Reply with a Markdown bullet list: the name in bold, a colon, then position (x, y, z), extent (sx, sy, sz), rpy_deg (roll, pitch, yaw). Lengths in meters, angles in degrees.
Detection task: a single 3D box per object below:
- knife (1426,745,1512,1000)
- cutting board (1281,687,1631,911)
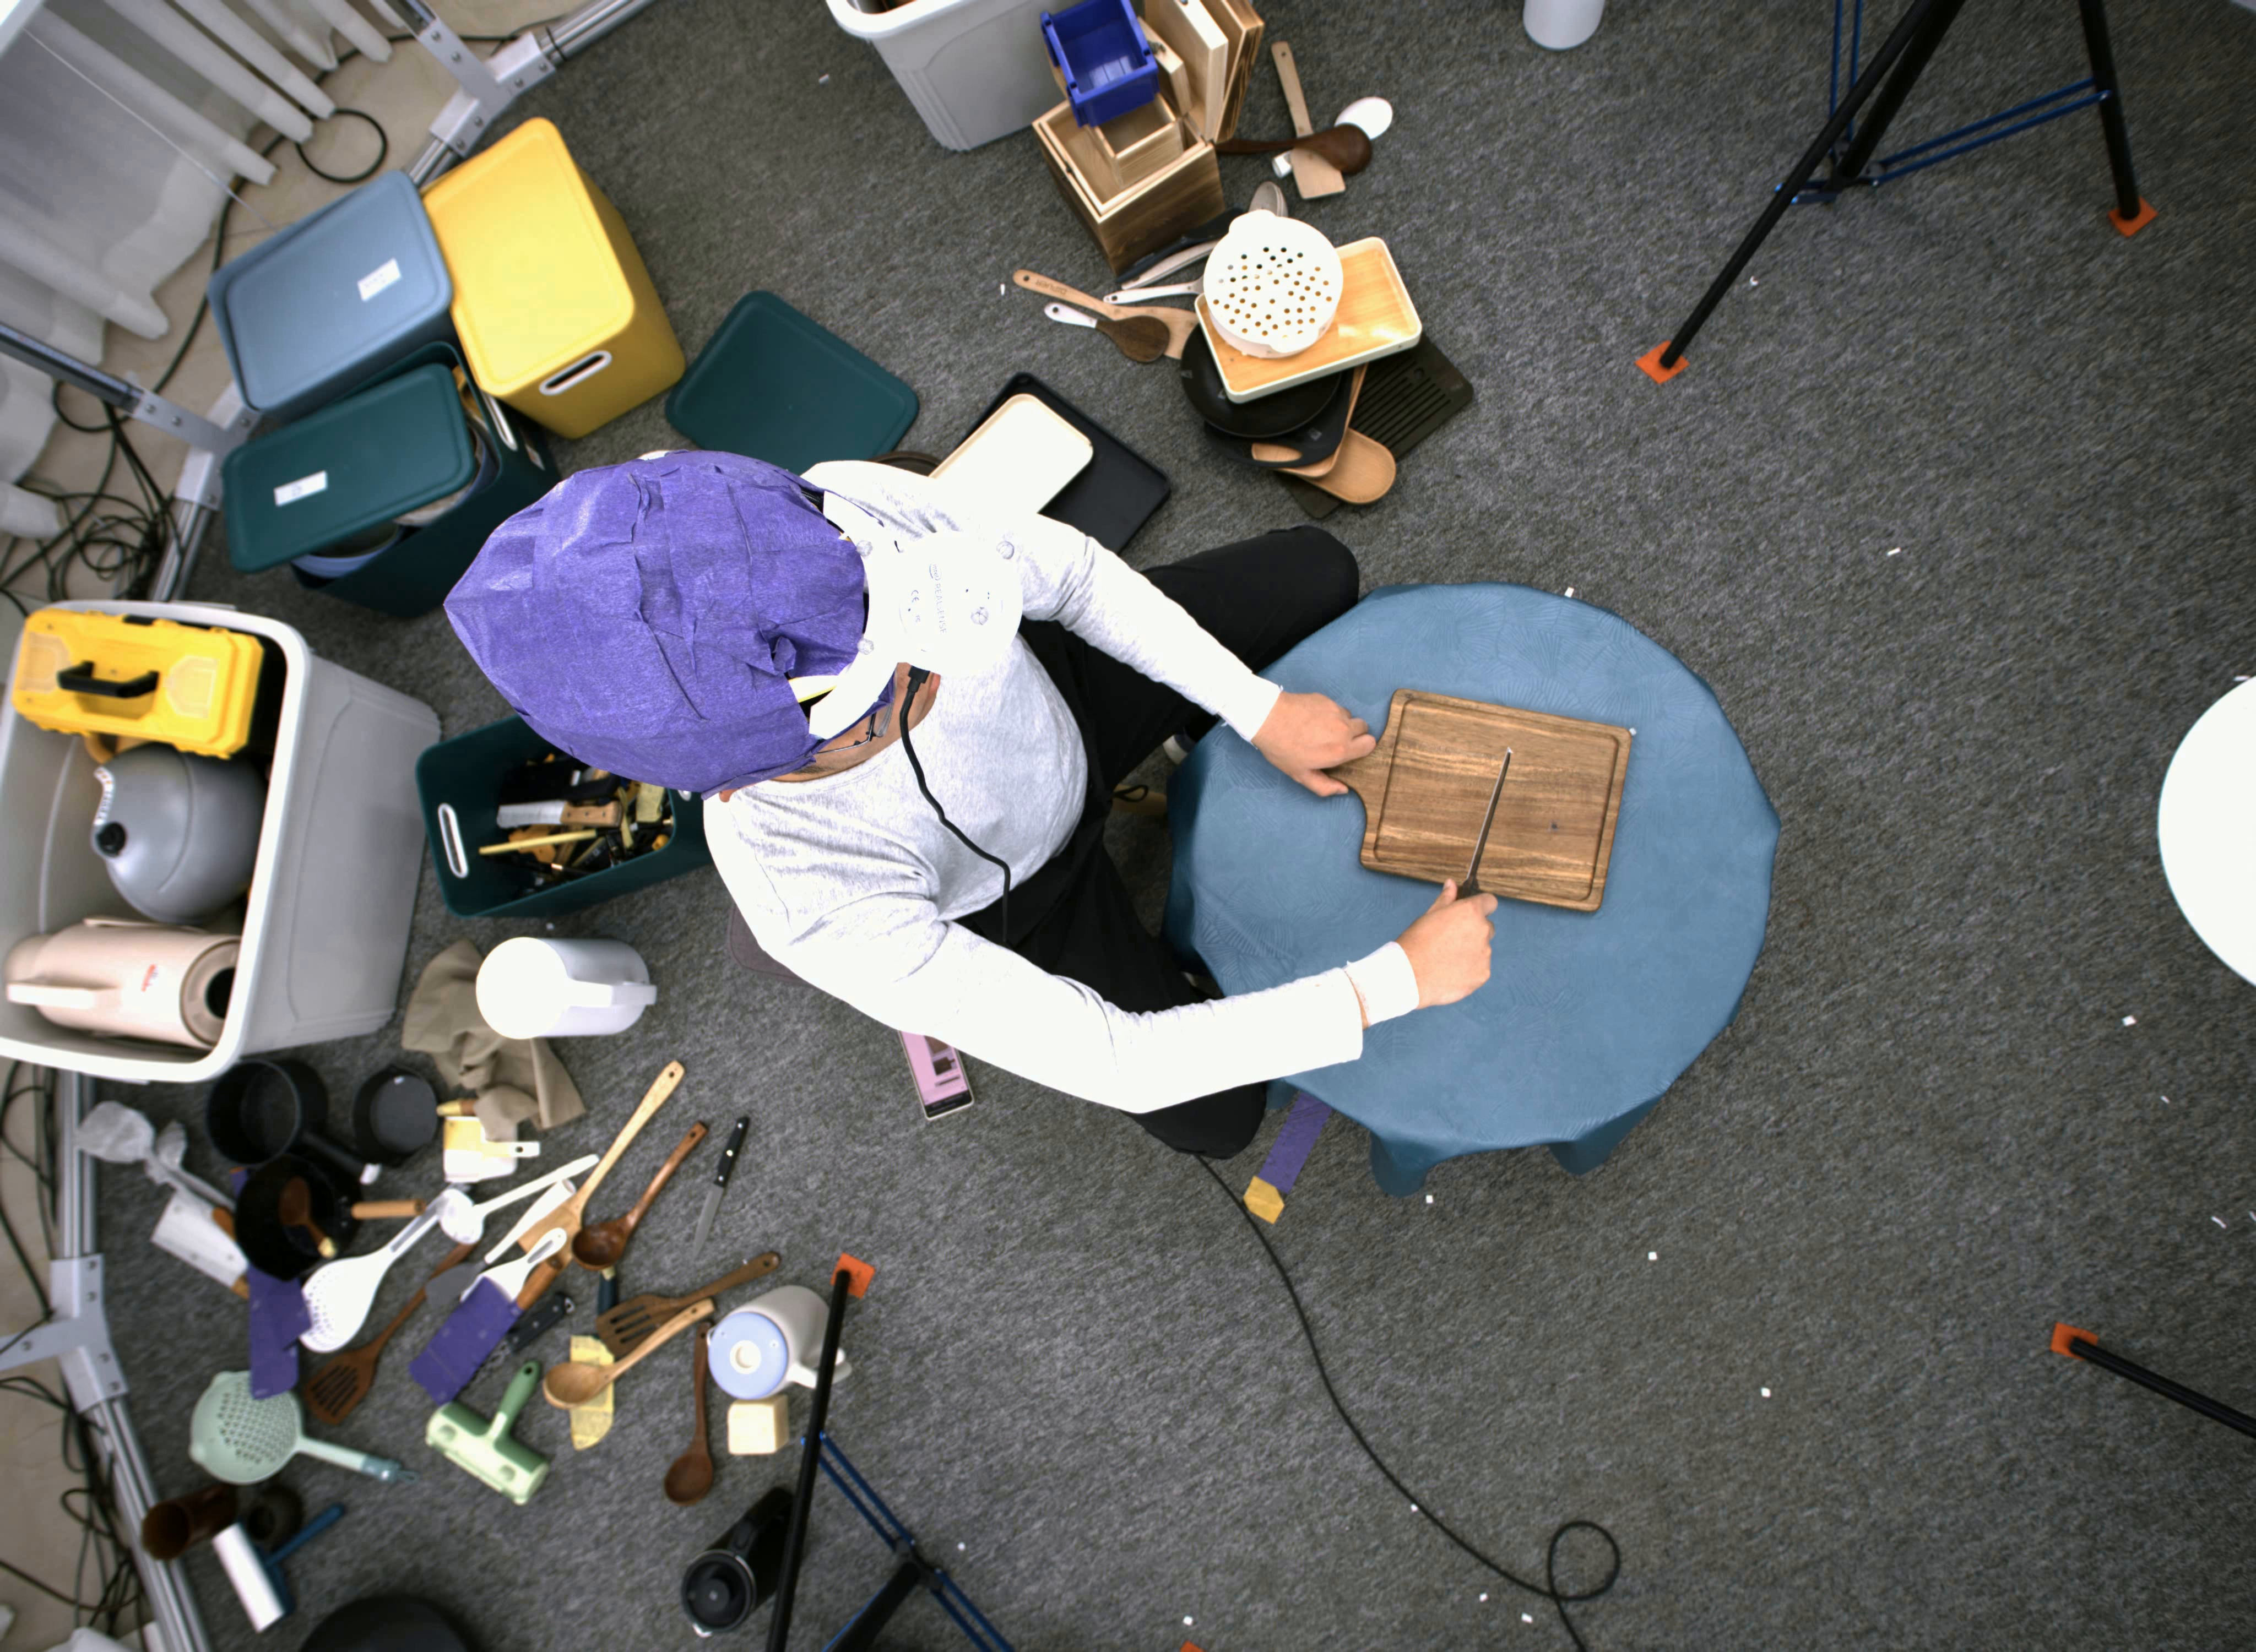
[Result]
- **knife**: position (0.336, 0.038, 1.333), extent (0.020, 0.051, 0.283), rpy_deg (21, 69, 4)
- **cutting board**: position (0.335, -0.041, 1.444), extent (0.353, 0.023, 0.200), rpy_deg (11, 88, 11)
